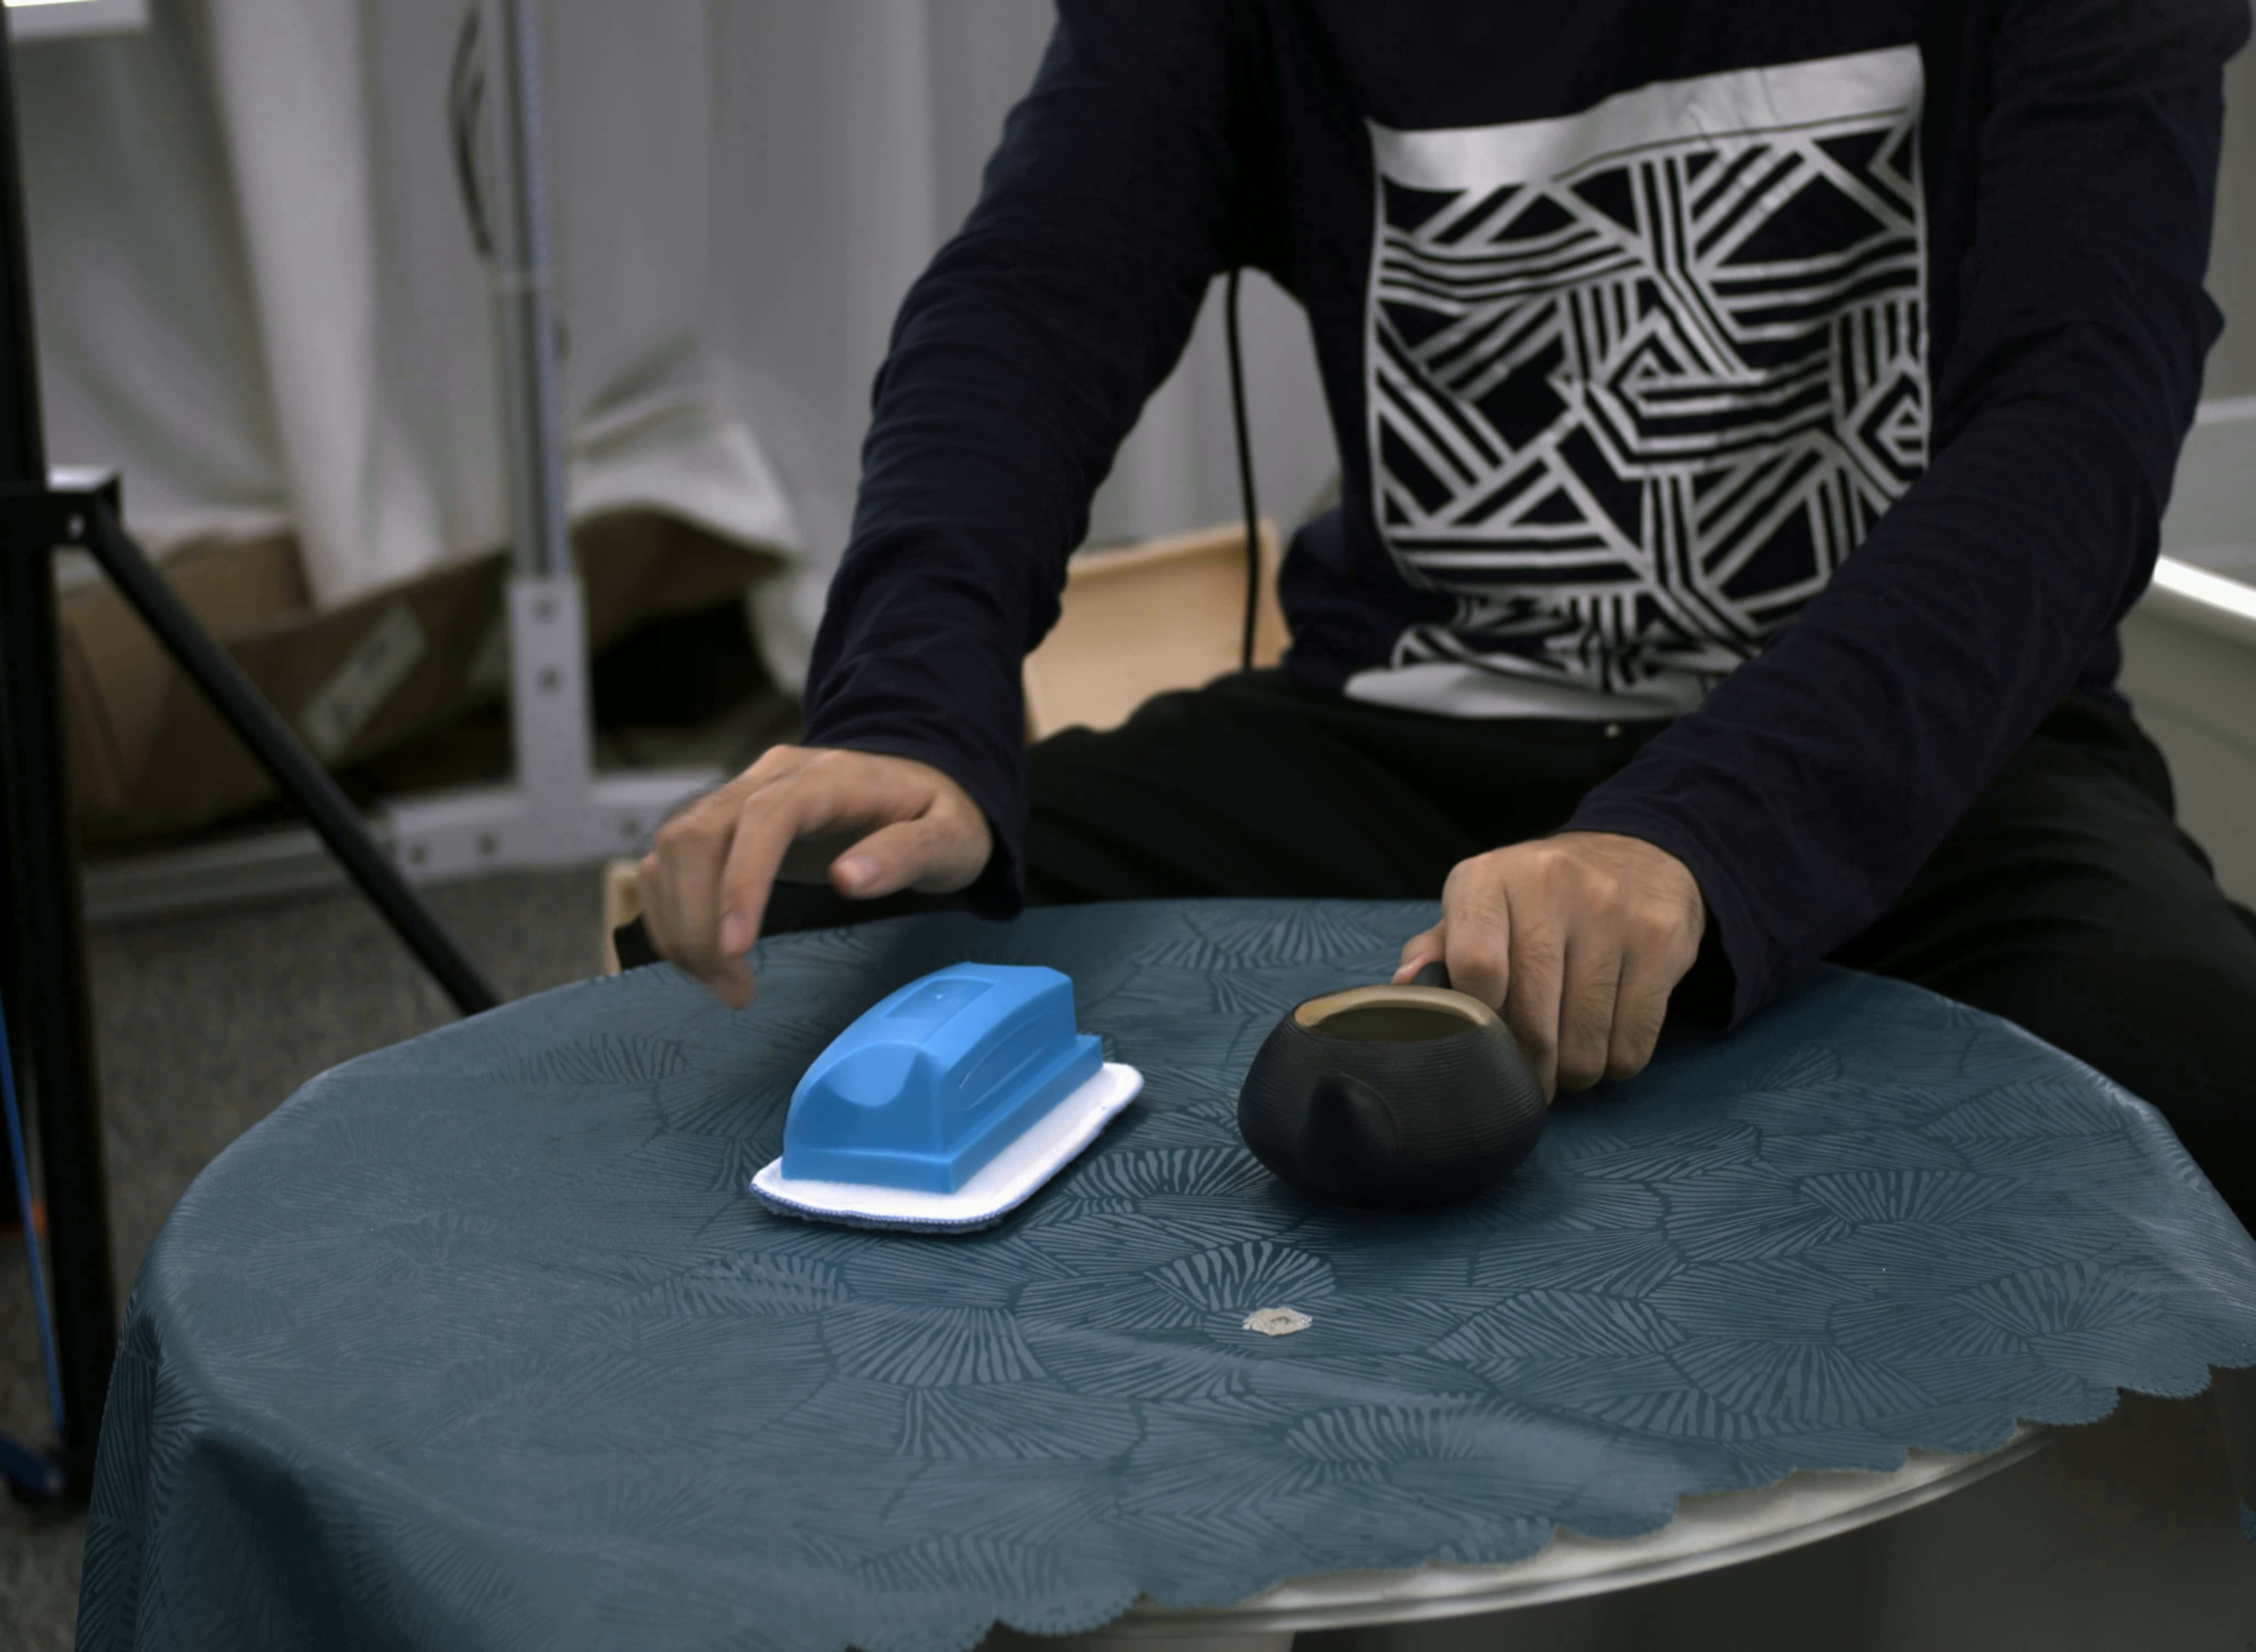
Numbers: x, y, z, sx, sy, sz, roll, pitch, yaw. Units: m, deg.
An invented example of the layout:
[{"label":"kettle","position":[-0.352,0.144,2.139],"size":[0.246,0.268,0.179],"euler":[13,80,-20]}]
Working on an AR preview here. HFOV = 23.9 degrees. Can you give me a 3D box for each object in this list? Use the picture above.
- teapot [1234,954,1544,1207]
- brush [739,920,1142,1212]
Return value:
[{"label":"teapot","position":[0.077,0.078,1.552],"size":[0.092,0.053,0.131],"euler":[5,18,21]},{"label":"brush","position":[-0.054,0.068,1.597],"size":[0.085,0.056,0.142],"euler":[8,21,22]}]
